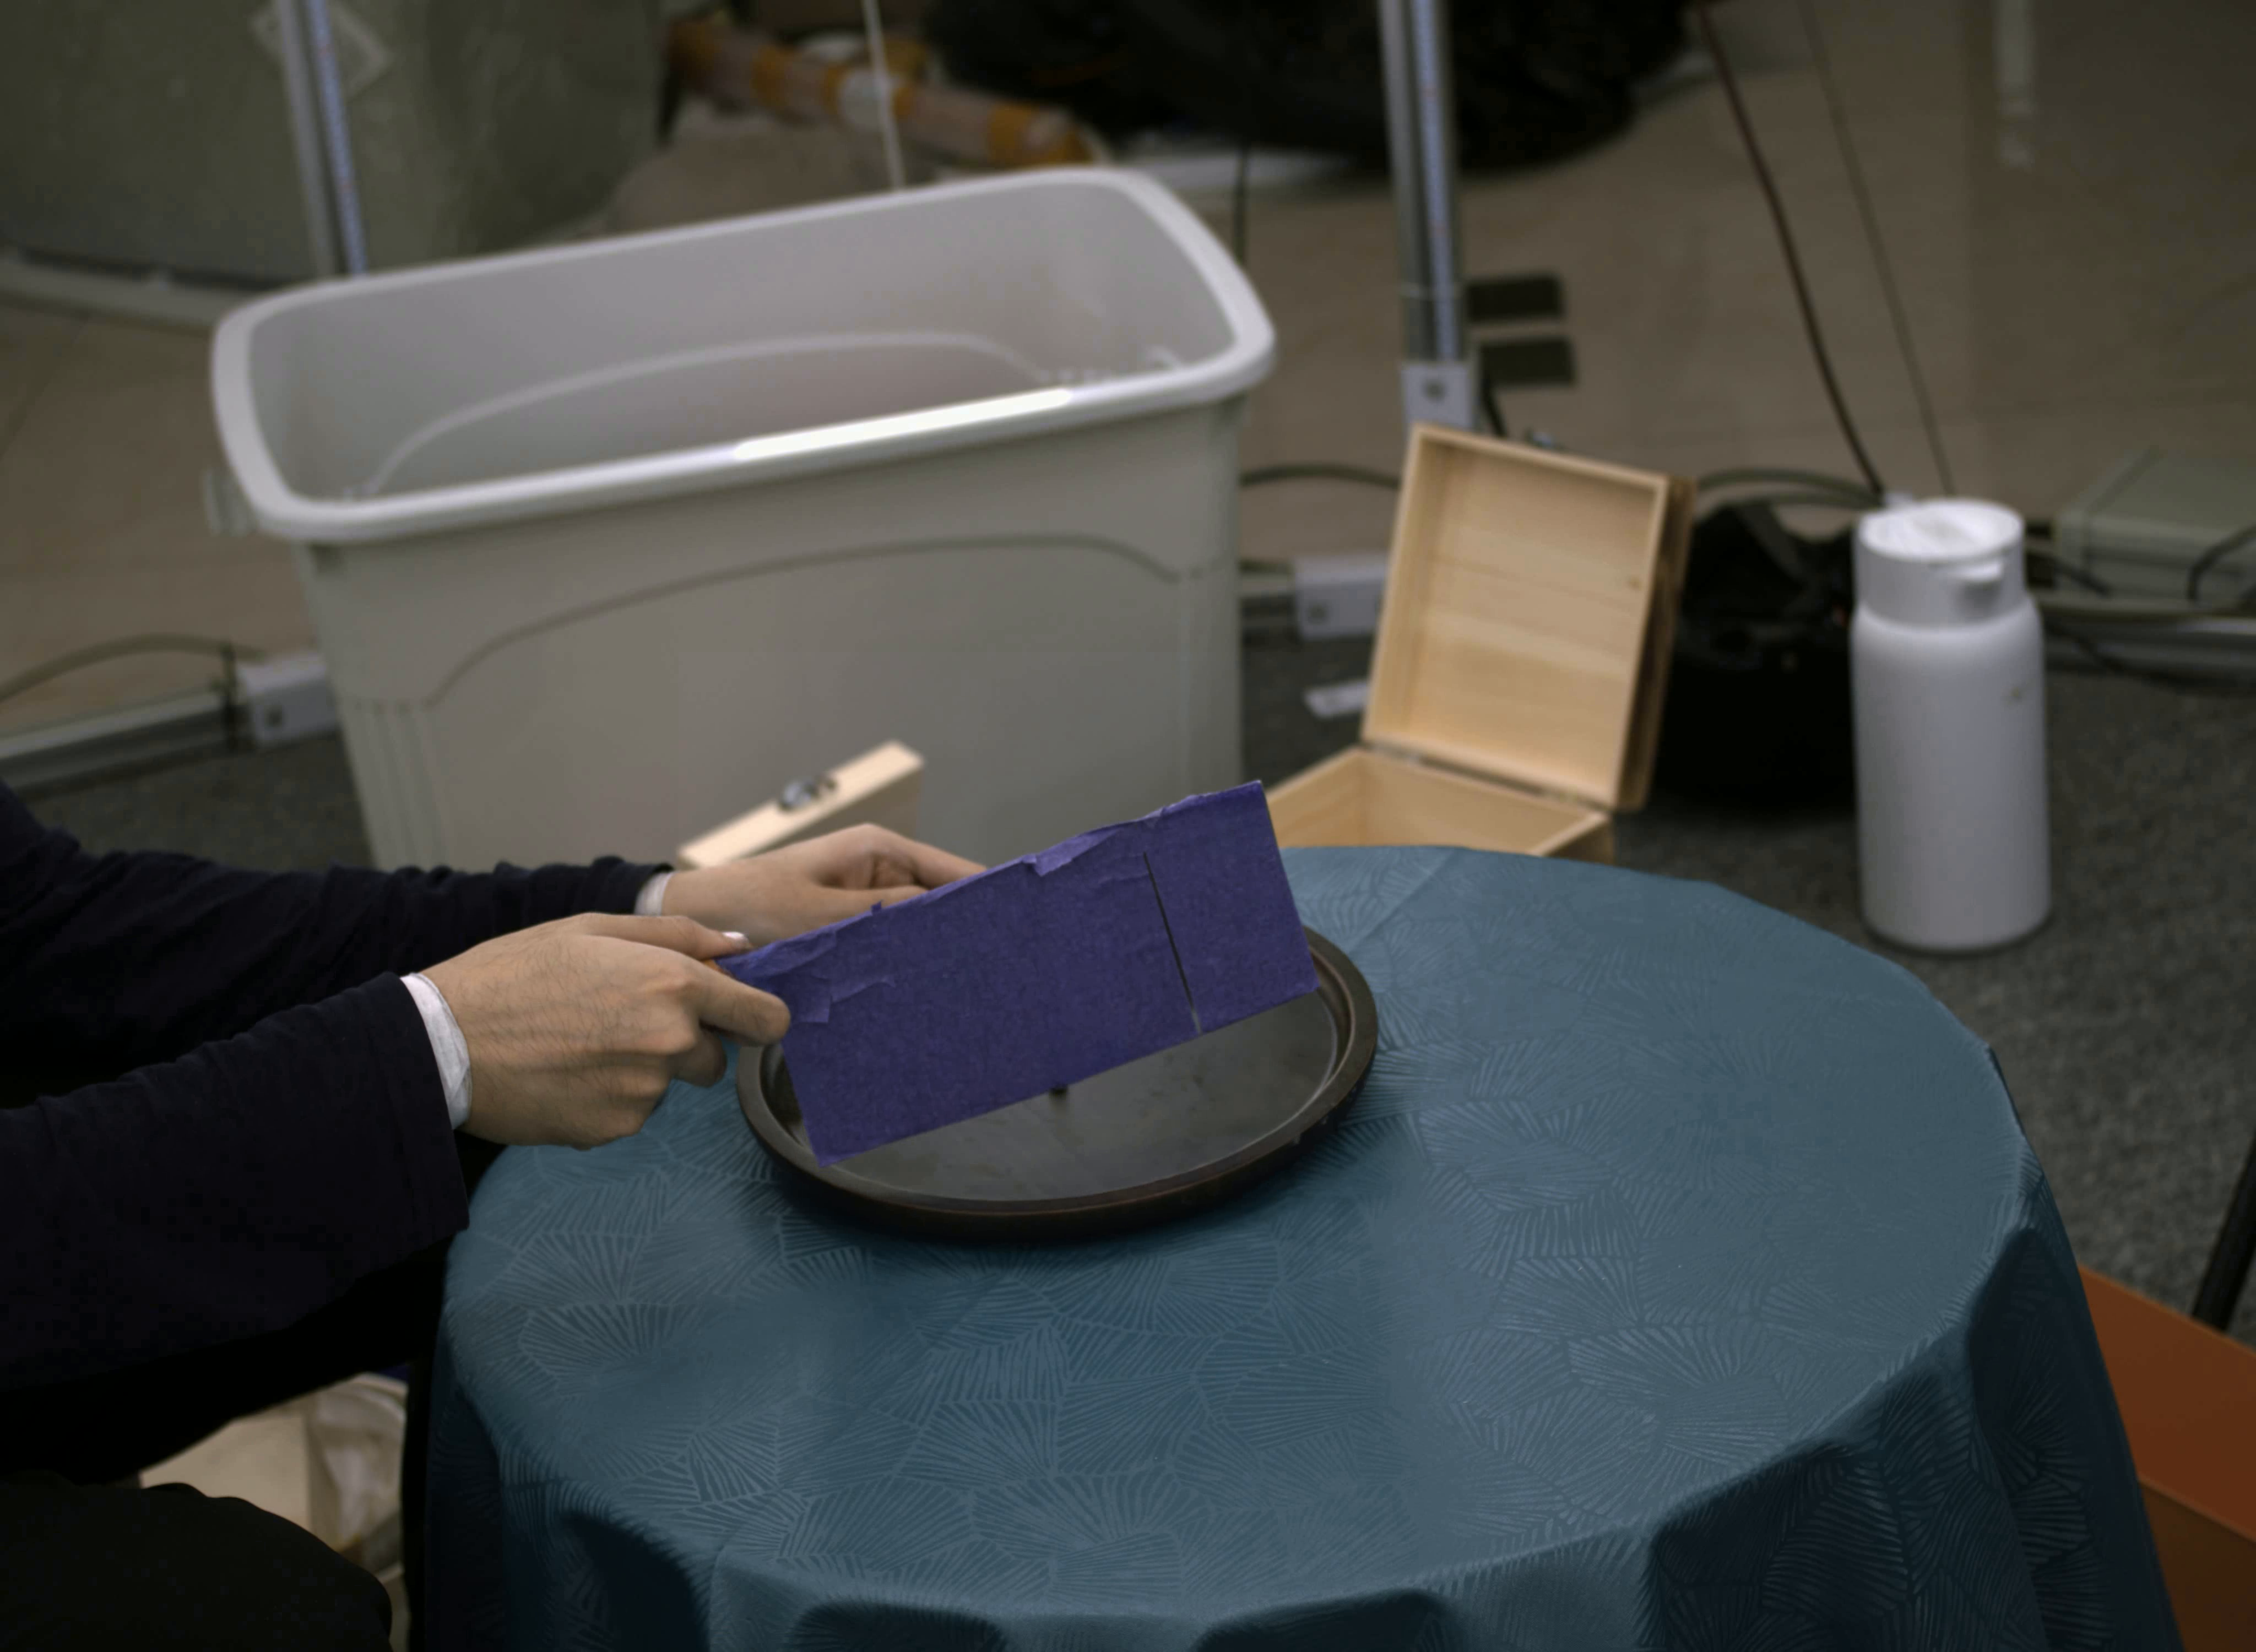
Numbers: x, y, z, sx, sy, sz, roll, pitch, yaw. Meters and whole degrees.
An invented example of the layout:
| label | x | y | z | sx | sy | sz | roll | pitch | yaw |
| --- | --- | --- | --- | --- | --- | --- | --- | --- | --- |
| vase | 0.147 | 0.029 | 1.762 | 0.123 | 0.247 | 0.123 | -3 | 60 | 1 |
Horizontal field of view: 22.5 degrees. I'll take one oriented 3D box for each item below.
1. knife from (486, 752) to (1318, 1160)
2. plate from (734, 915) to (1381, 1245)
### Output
| label | x | y | z | sx | sy | sz | roll | pitch | yaw |
| --- | --- | --- | --- | --- | --- | --- | --- | --- | --- |
| knife | -0.079 | 0.070 | 2.119 | 0.314 | 0.105 | 0.032 | -19 | 17 | -10 |
| plate | -0.027 | 0.092 | 2.214 | 0.254 | 0.029 | 0.250 | -4 | 29 | 2 |
